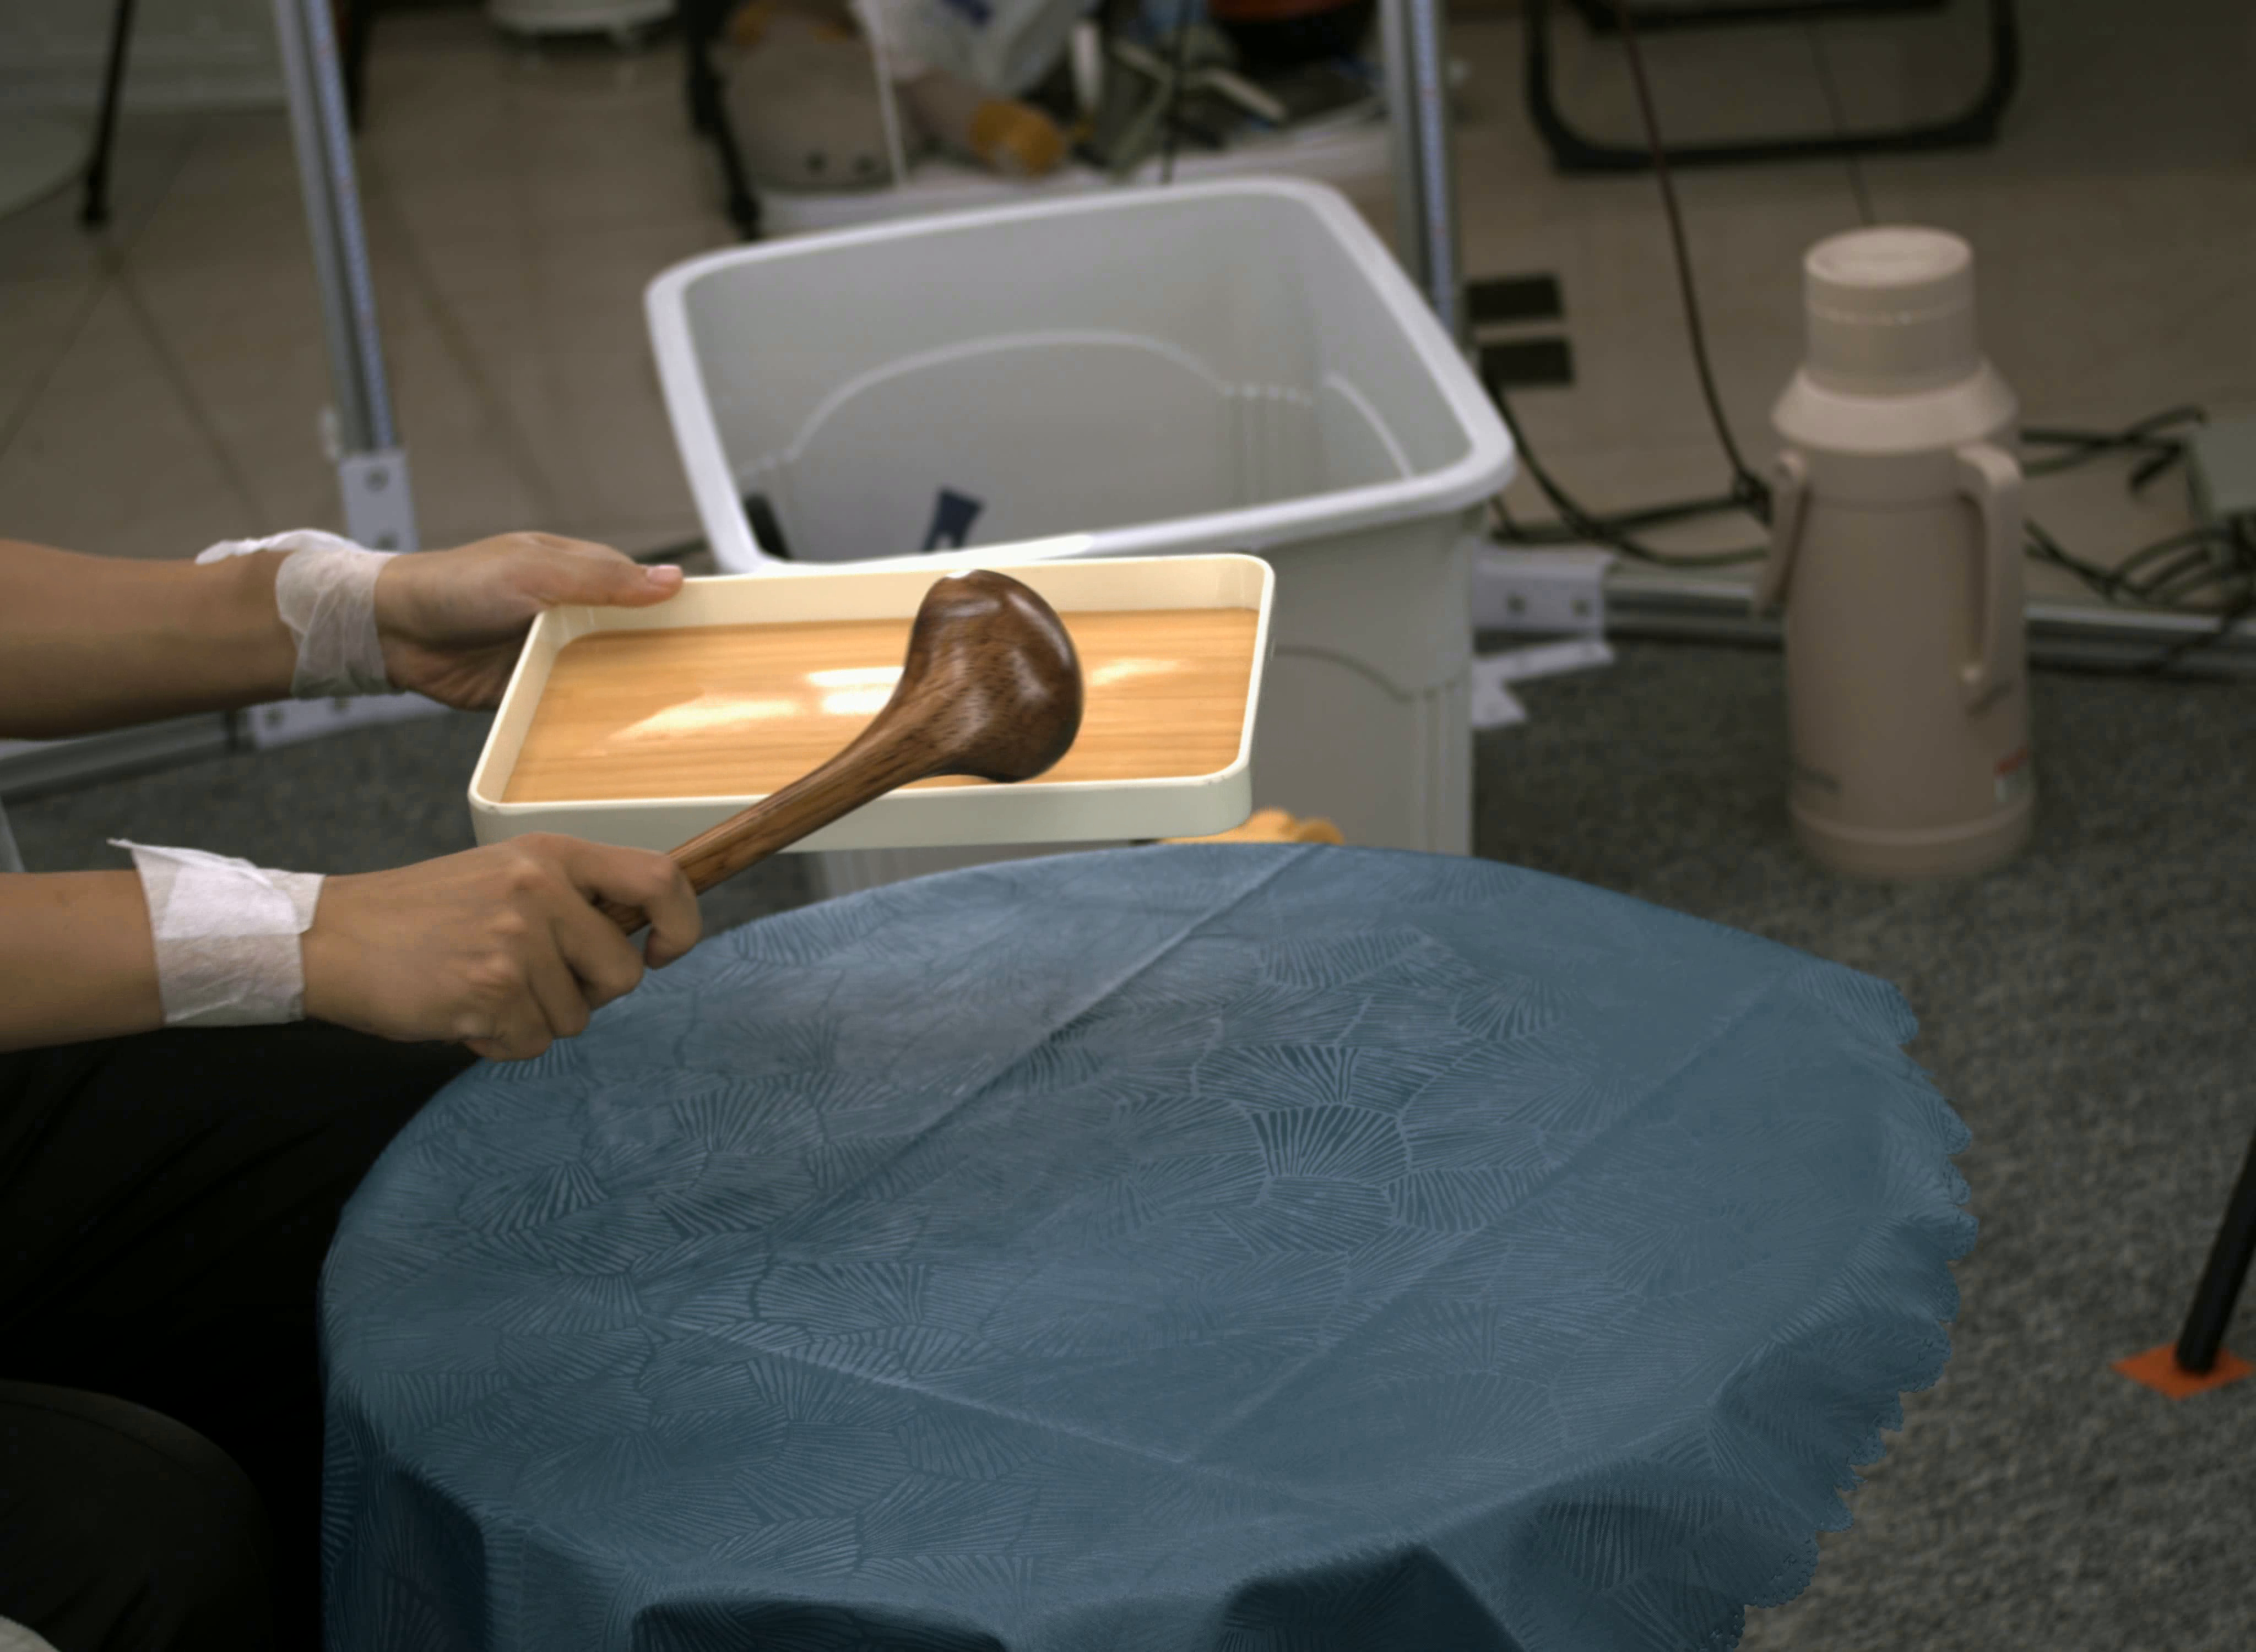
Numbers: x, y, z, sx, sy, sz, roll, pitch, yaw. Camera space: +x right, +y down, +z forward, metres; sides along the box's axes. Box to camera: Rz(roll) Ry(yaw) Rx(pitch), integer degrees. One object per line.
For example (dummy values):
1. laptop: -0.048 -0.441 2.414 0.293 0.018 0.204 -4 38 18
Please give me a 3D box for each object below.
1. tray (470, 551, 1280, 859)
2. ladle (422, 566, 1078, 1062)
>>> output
1. tray: -0.095 -0.048 2.209 0.300 0.028 0.188 -2 30 7
2. ladle: -0.140 -0.002 2.063 0.273 0.082 0.076 -32 8 -4
